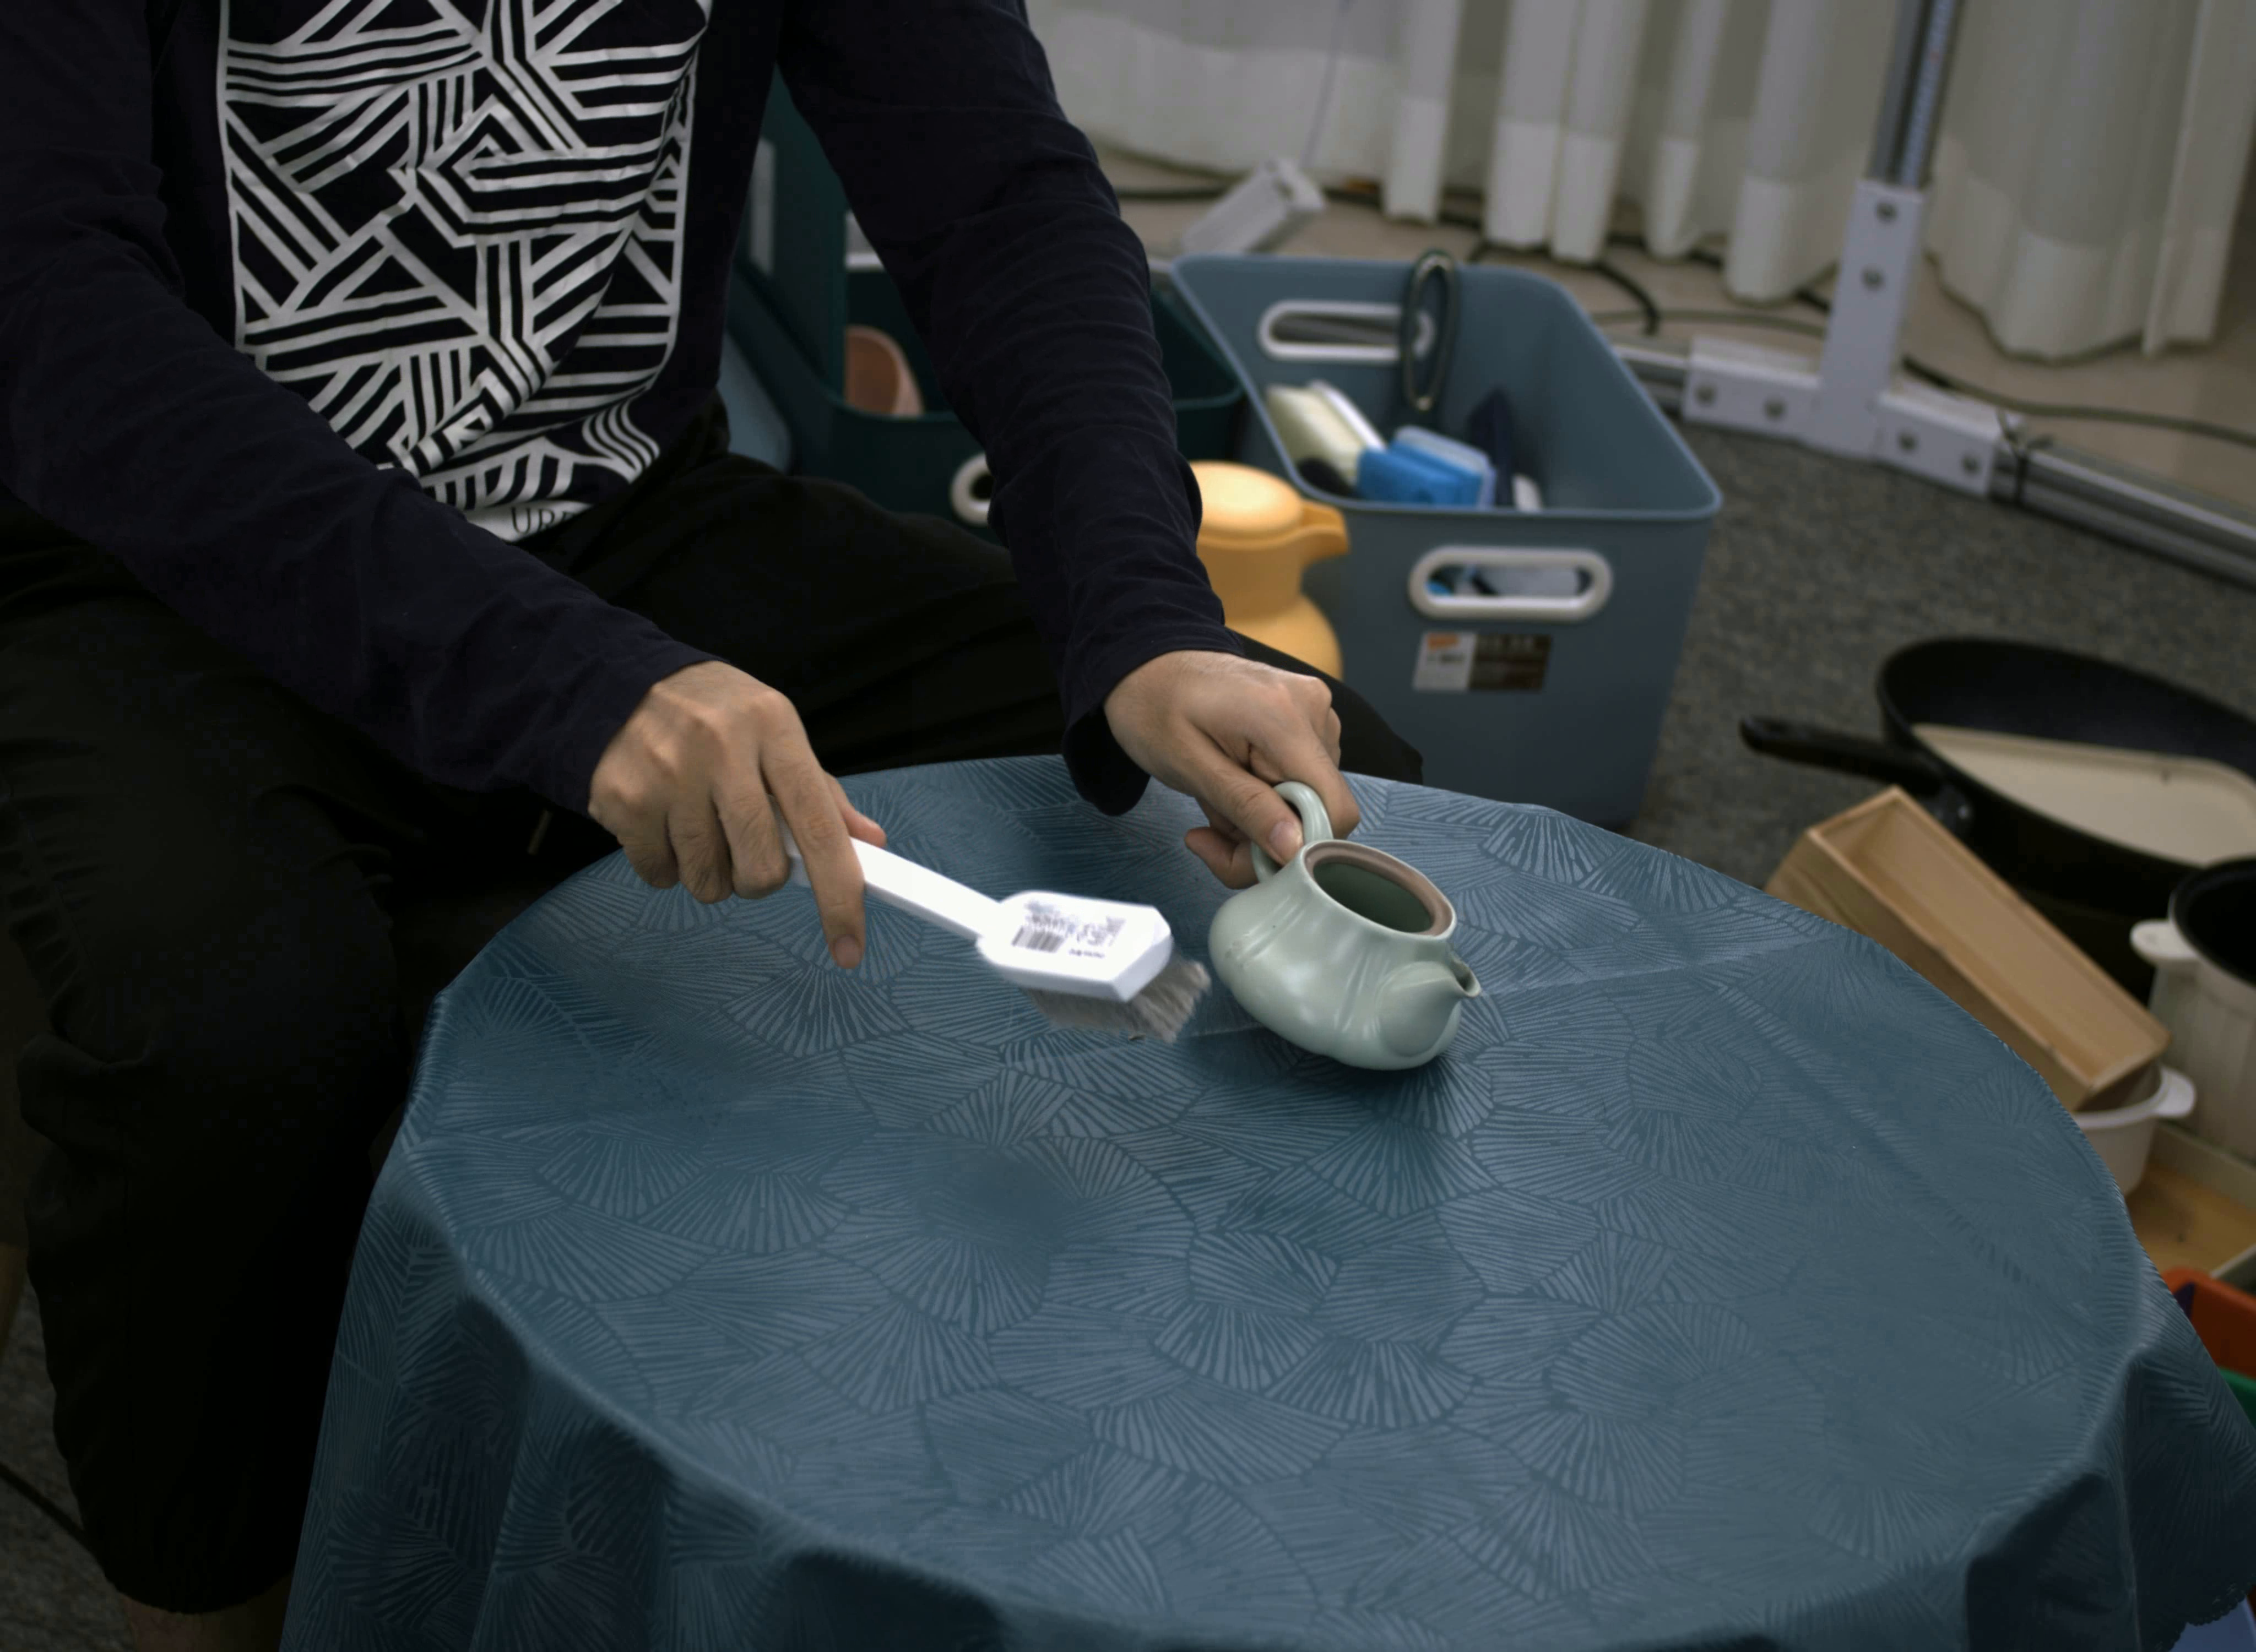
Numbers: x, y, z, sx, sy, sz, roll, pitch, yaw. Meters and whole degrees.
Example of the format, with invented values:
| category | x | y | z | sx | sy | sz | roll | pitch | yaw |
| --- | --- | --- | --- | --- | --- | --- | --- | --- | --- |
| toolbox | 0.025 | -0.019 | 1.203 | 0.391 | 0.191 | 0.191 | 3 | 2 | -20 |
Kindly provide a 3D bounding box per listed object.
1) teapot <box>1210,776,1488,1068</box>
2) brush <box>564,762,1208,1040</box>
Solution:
| category | x | y | z | sx | sy | sz | roll | pitch | yaw |
| --- | --- | --- | --- | --- | --- | --- | --- | --- | --- |
| teapot | 0.078 | 0.040 | 1.906 | 0.095 | 0.061 | 0.138 | -1 | 37 | -37 |
| brush | -0.085 | 0.026 | 1.830 | 0.244 | 0.050 | 0.034 | 16 | 61 | 25 |
